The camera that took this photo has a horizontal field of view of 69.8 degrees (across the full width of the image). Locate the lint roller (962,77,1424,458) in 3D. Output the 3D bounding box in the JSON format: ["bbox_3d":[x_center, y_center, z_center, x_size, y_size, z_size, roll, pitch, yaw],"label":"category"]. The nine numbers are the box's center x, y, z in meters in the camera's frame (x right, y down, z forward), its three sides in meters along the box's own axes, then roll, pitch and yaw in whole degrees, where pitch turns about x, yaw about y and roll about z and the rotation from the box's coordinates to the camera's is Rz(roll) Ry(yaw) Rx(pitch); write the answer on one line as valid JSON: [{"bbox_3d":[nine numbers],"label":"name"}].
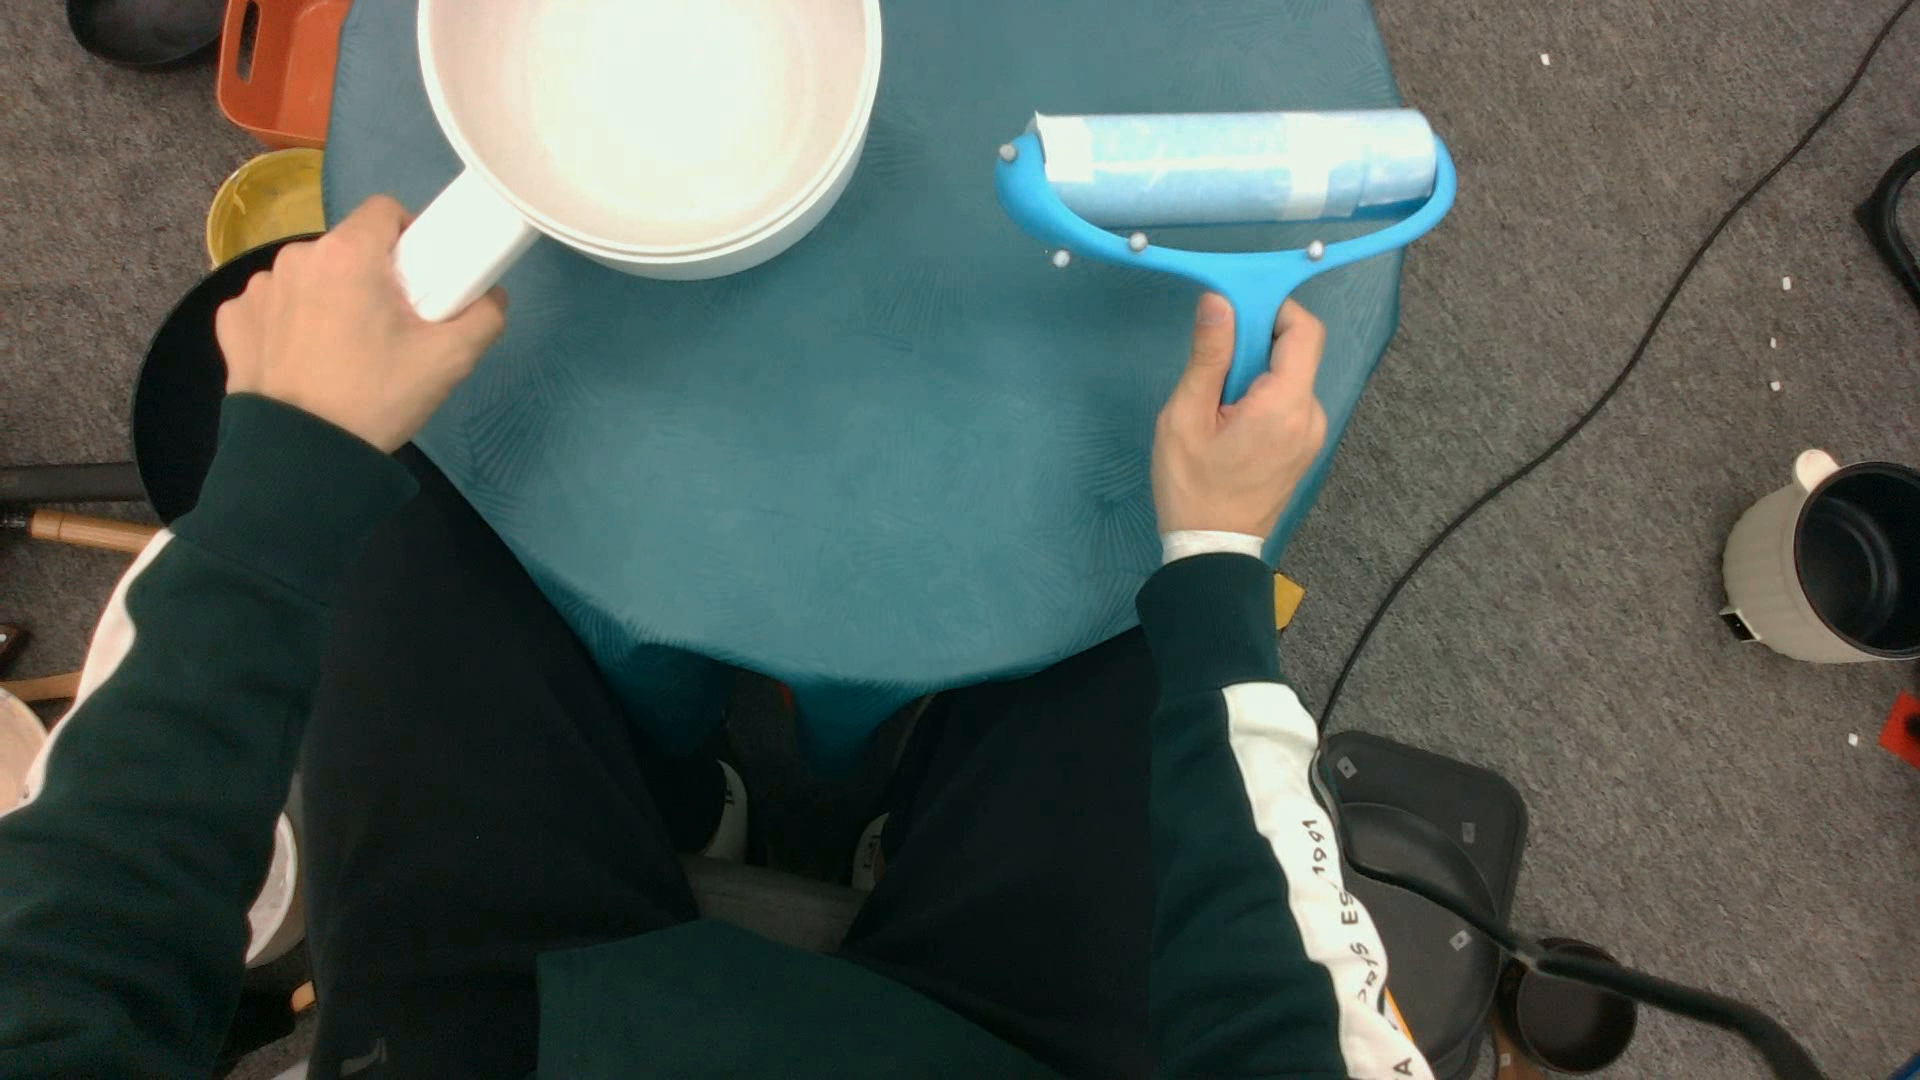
[{"bbox_3d":[0.122,-0.130,0.666,0.229,0.068,0.180,-9,94,-13],"label":"lint roller"}]

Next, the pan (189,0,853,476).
[{"bbox_3d":[-0.203,-0.169,0.646,0.201,0.102,0.355,43,88,-5],"label":"pan"}]
